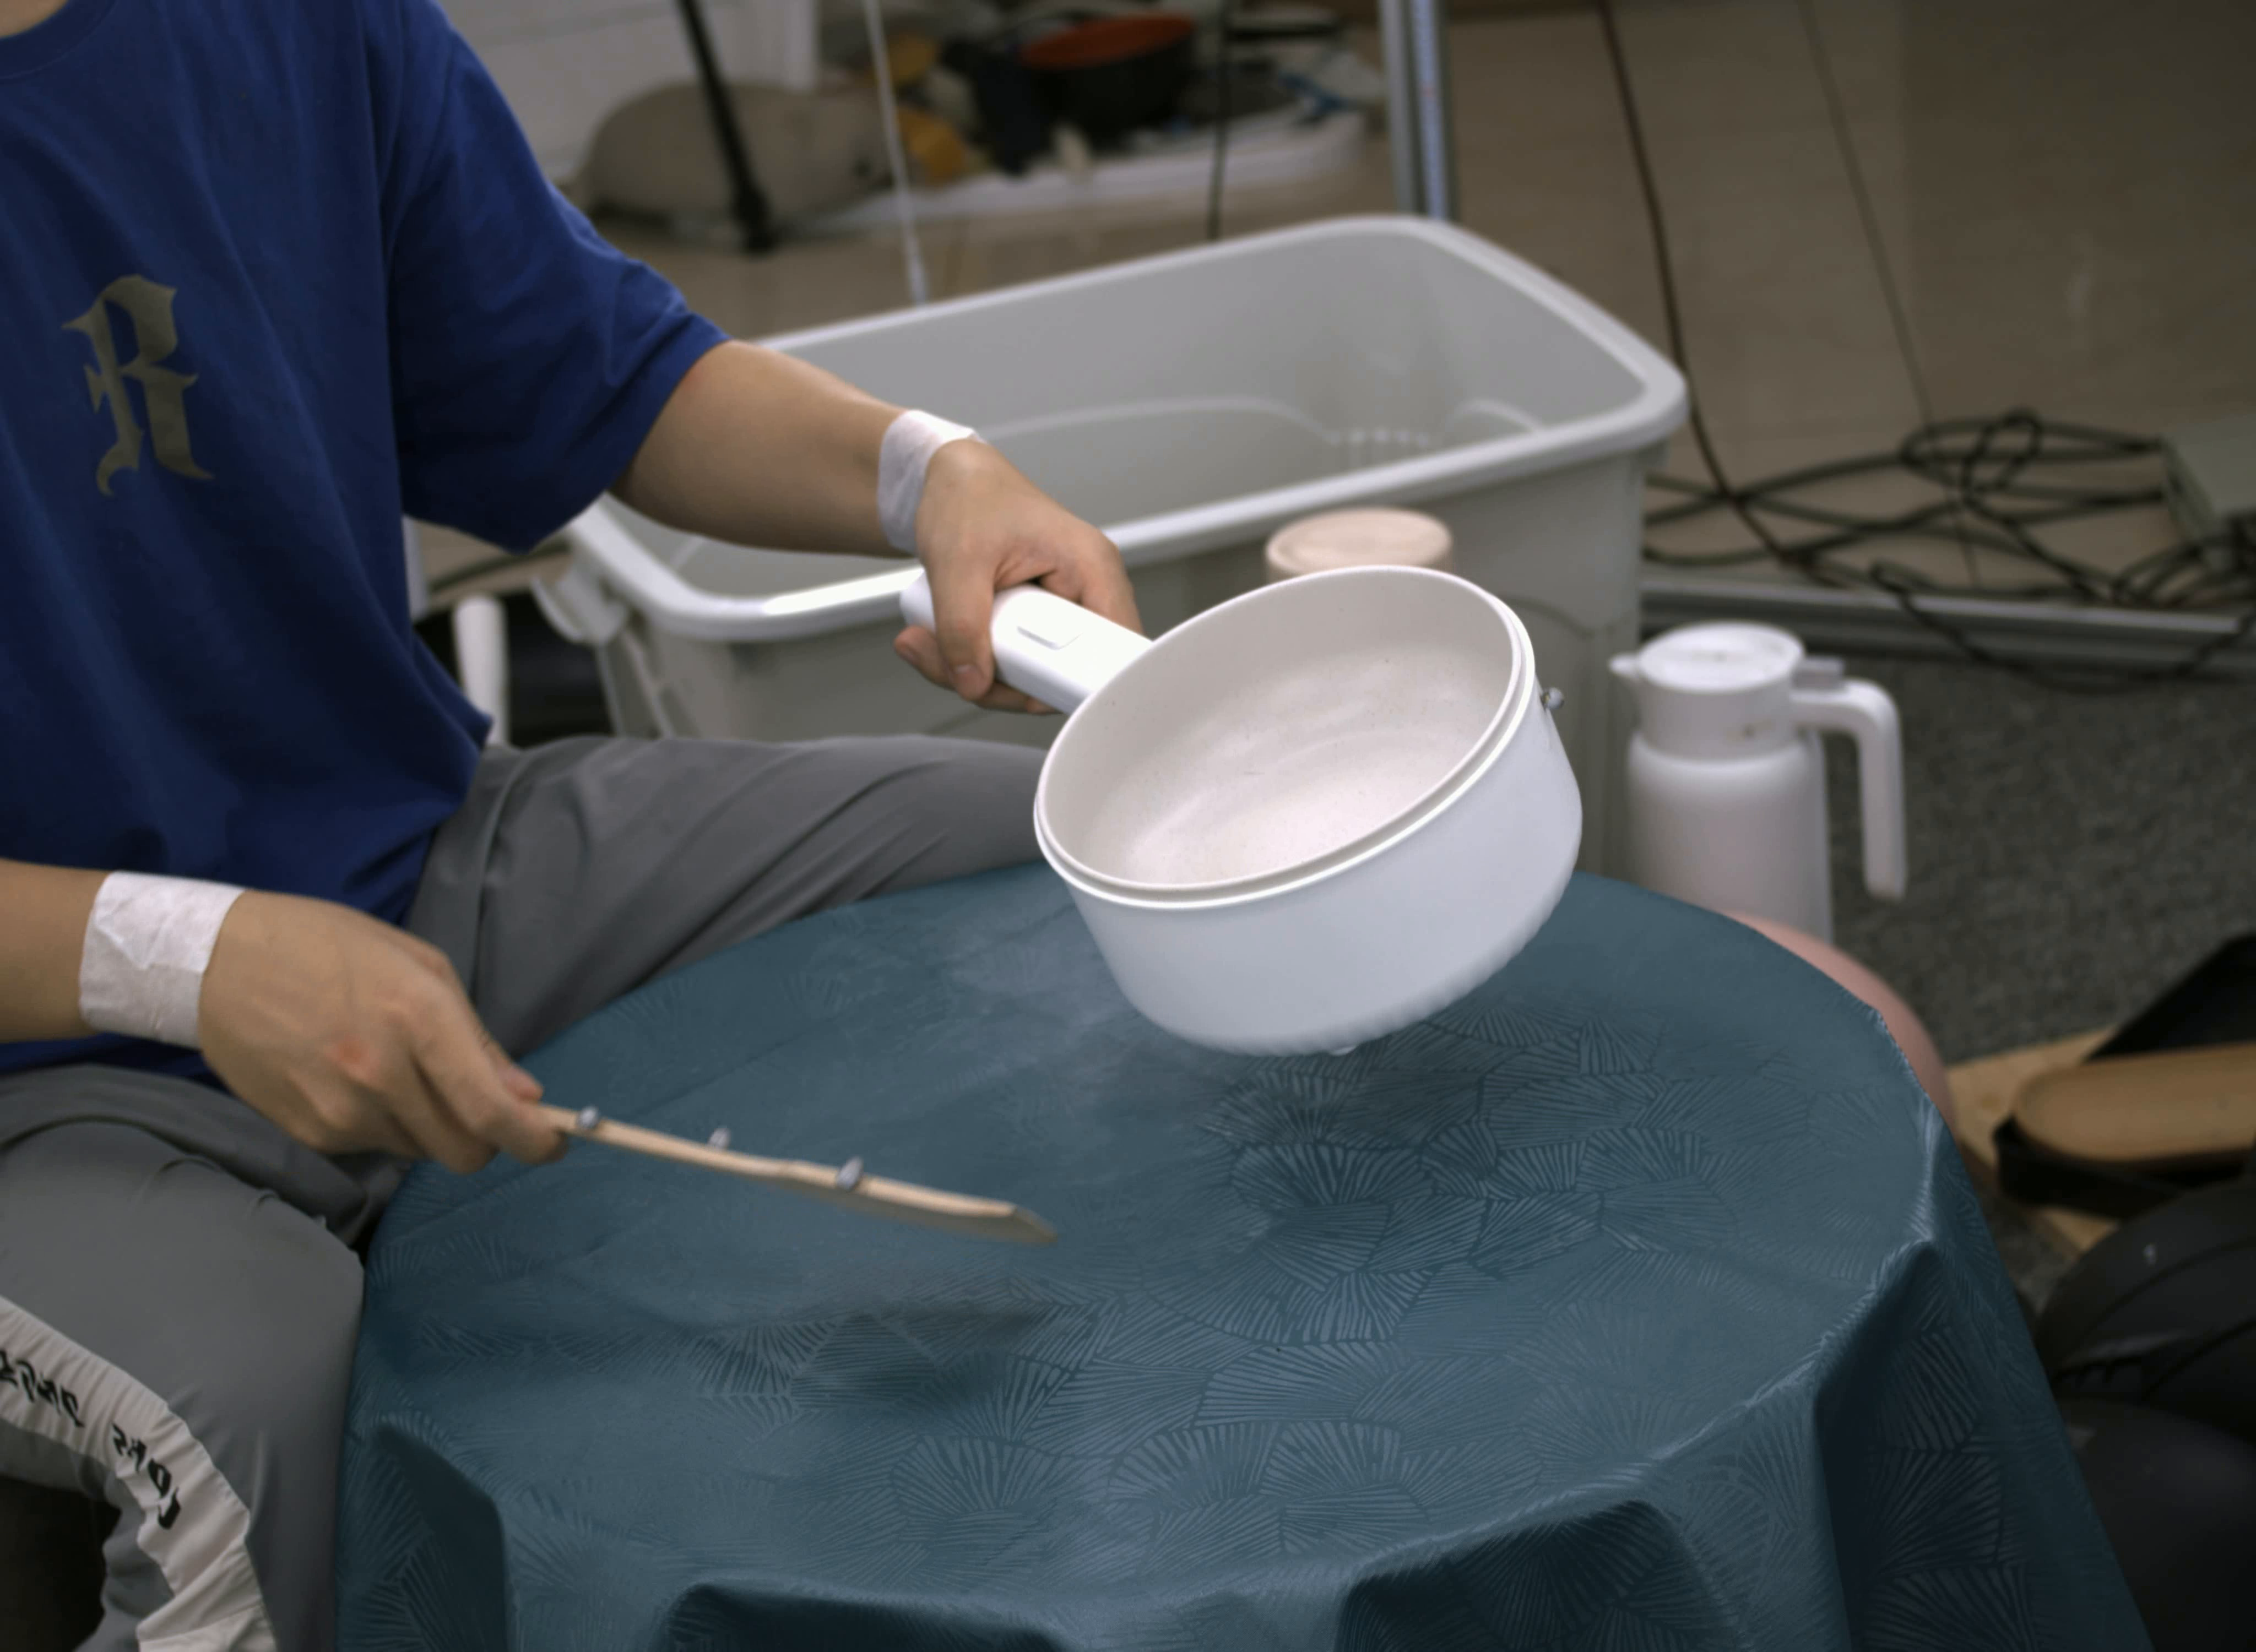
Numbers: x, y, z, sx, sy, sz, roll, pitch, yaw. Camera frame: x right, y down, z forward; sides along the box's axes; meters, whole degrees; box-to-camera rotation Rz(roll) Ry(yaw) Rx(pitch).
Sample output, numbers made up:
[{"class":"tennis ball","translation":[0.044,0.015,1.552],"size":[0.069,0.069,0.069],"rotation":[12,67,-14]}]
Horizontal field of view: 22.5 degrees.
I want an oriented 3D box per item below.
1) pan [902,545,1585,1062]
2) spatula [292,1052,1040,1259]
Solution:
[{"class":"pan","translation":[0.032,-0.022,2.226],"size":[0.200,0.104,0.351],"rotation":[-40,36,-18]},{"class":"spatula","translation":[-0.175,0.119,2.076],"size":[0.292,0.010,0.073],"rotation":[13,-10,16]}]
